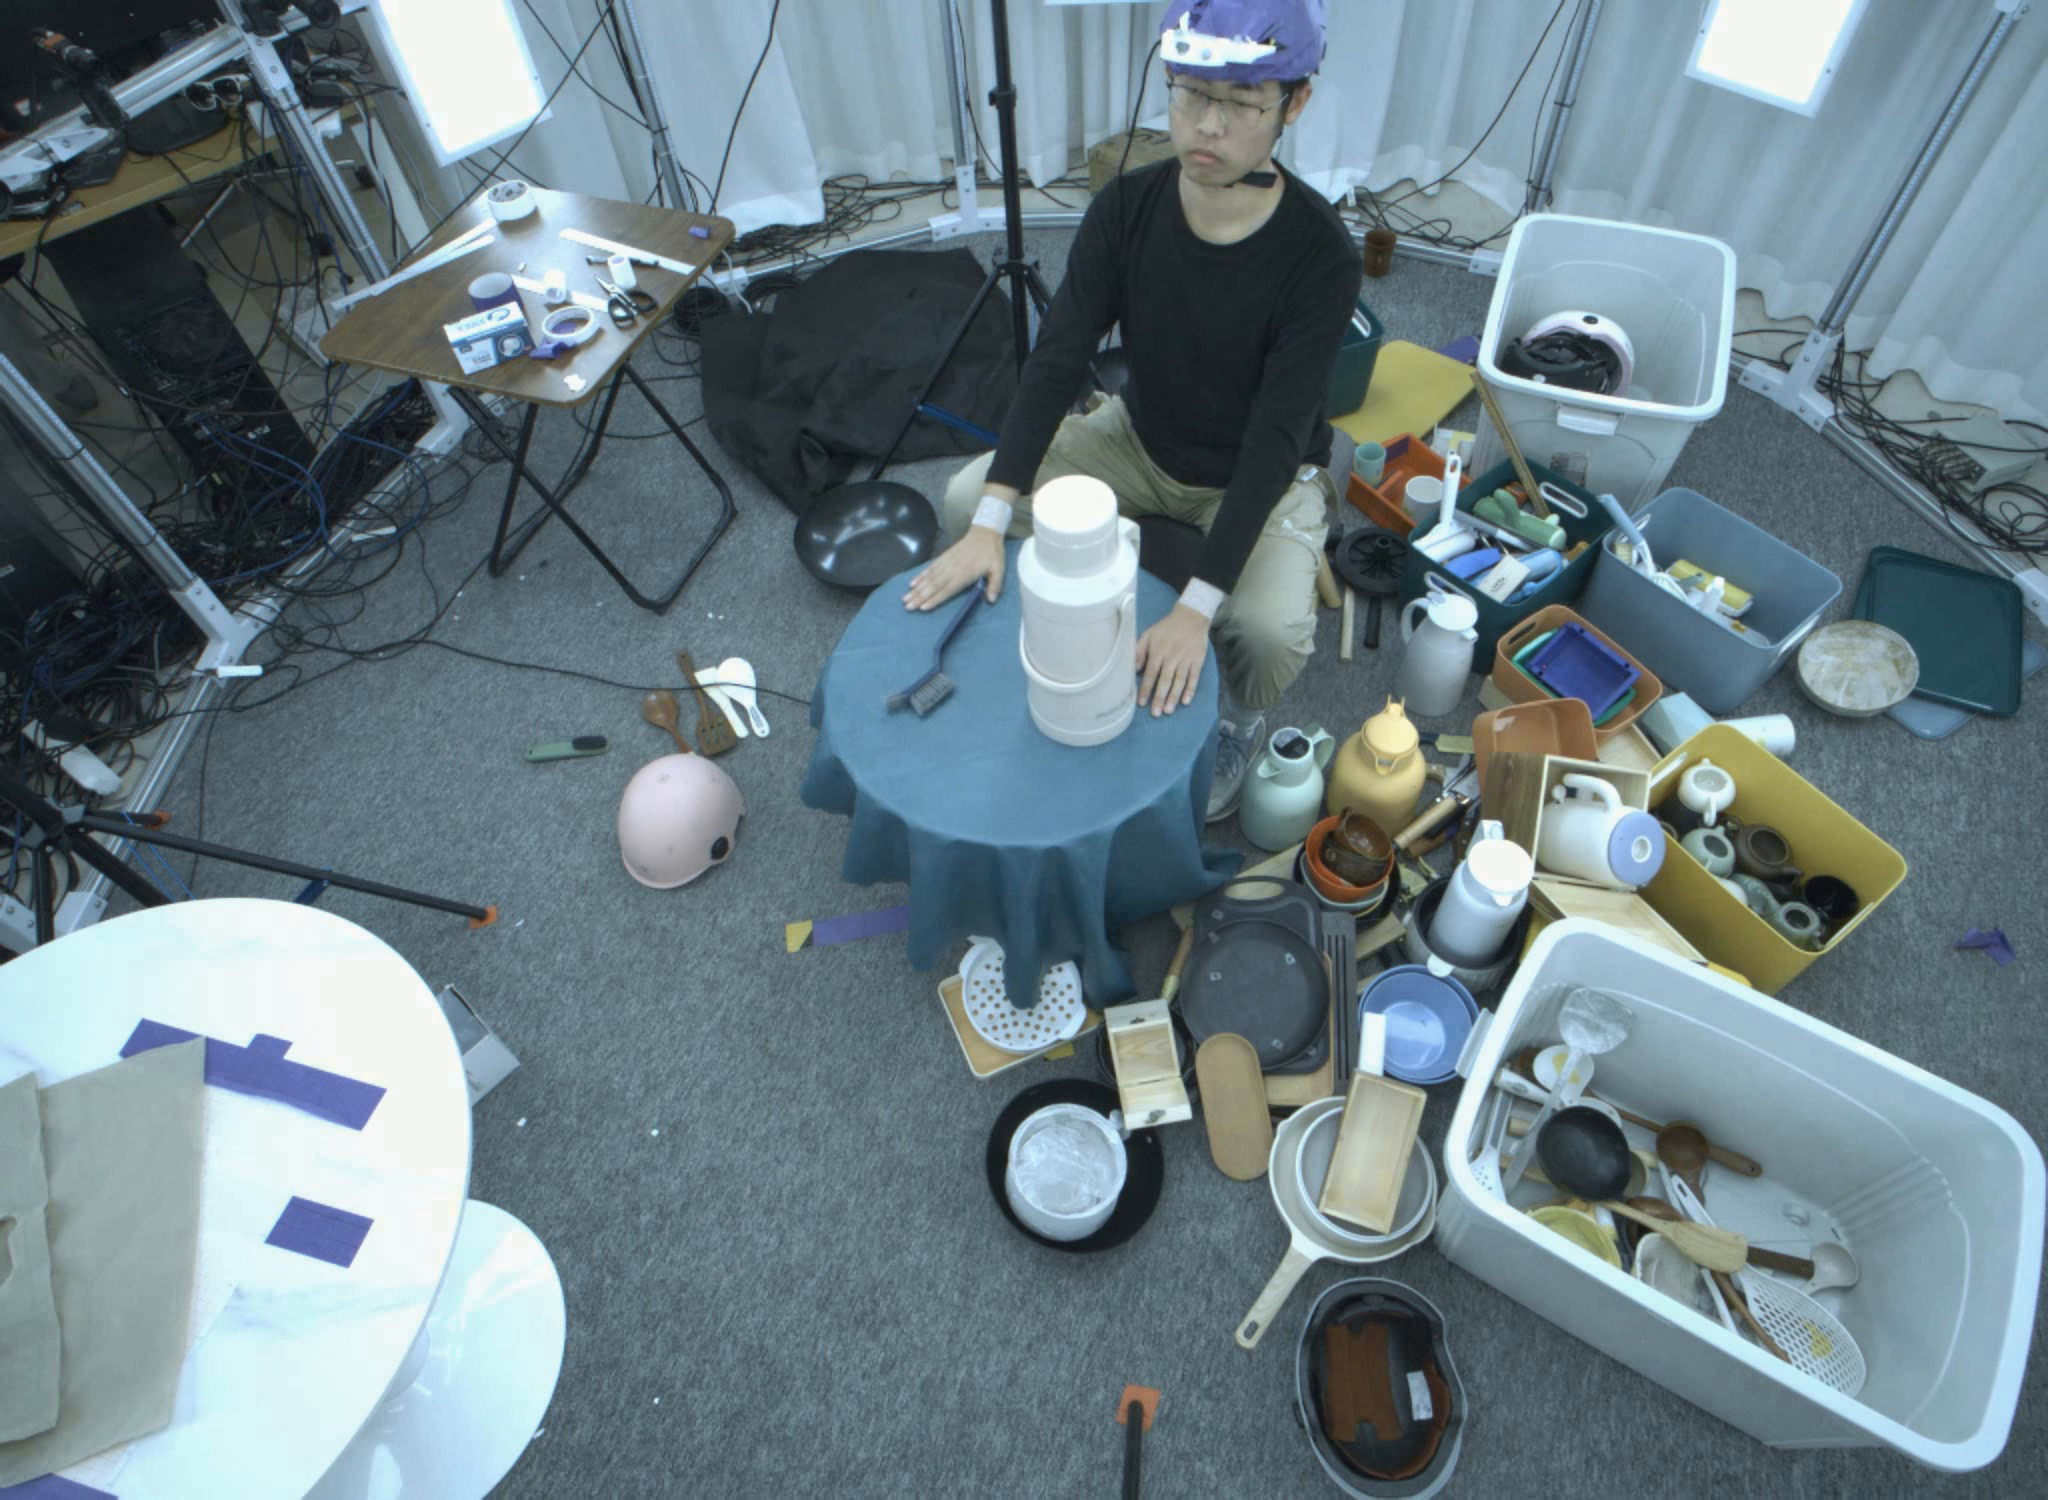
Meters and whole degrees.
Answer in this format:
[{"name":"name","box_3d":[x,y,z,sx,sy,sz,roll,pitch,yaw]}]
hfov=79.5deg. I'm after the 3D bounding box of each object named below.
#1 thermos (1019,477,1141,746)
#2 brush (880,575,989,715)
[{"name":"thermos","box_3d":[0.088,-0.193,1.677,0.172,0.411,0.208,32,63,25]},{"name":"brush","box_3d":[-0.130,-0.167,1.890,0.095,0.034,0.272,15,59,11]}]
